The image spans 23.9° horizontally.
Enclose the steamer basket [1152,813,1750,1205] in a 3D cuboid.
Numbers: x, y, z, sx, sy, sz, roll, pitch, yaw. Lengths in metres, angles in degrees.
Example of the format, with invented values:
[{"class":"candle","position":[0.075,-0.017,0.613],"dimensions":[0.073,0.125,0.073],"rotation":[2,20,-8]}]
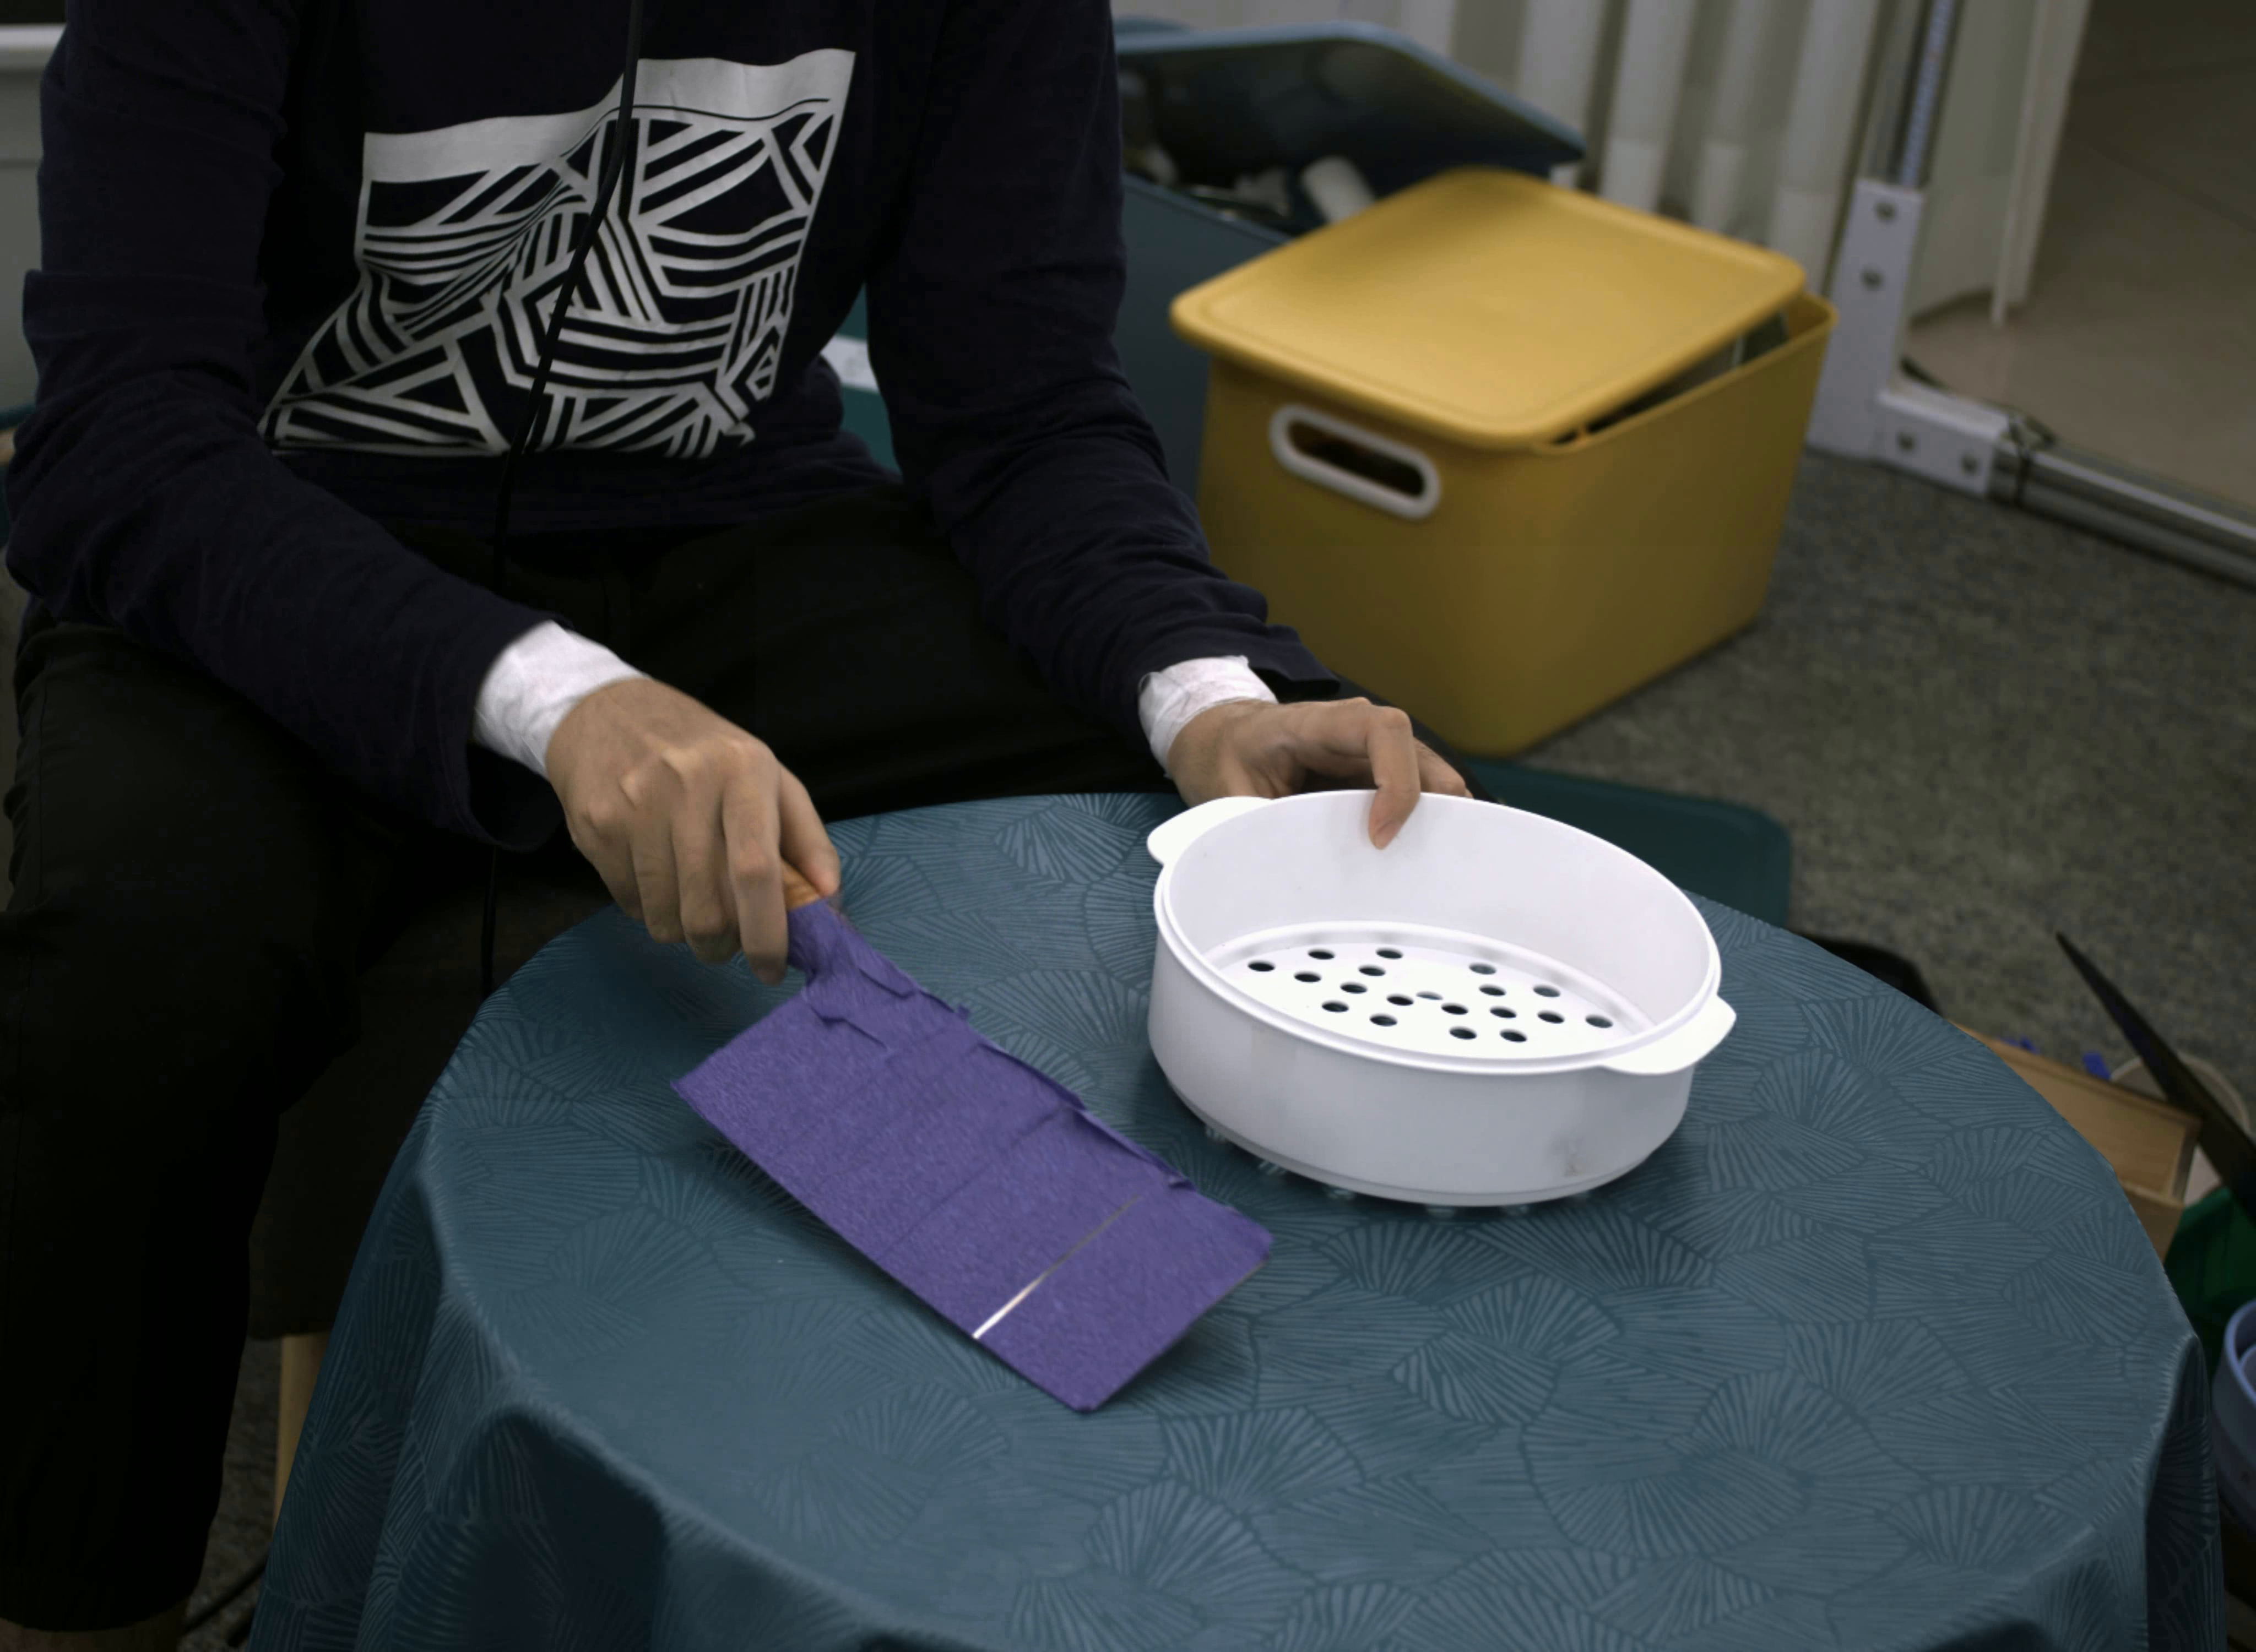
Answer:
[{"class":"steamer basket","position":[0.109,0.065,1.876],"dimensions":[0.232,0.069,0.201],"rotation":[21,29,33]}]

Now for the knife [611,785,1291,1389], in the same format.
[{"class":"knife","position":[-0.088,0.083,1.782],"dimensions":[0.104,0.032,0.318],"rotation":[-37,49,-25]}]
